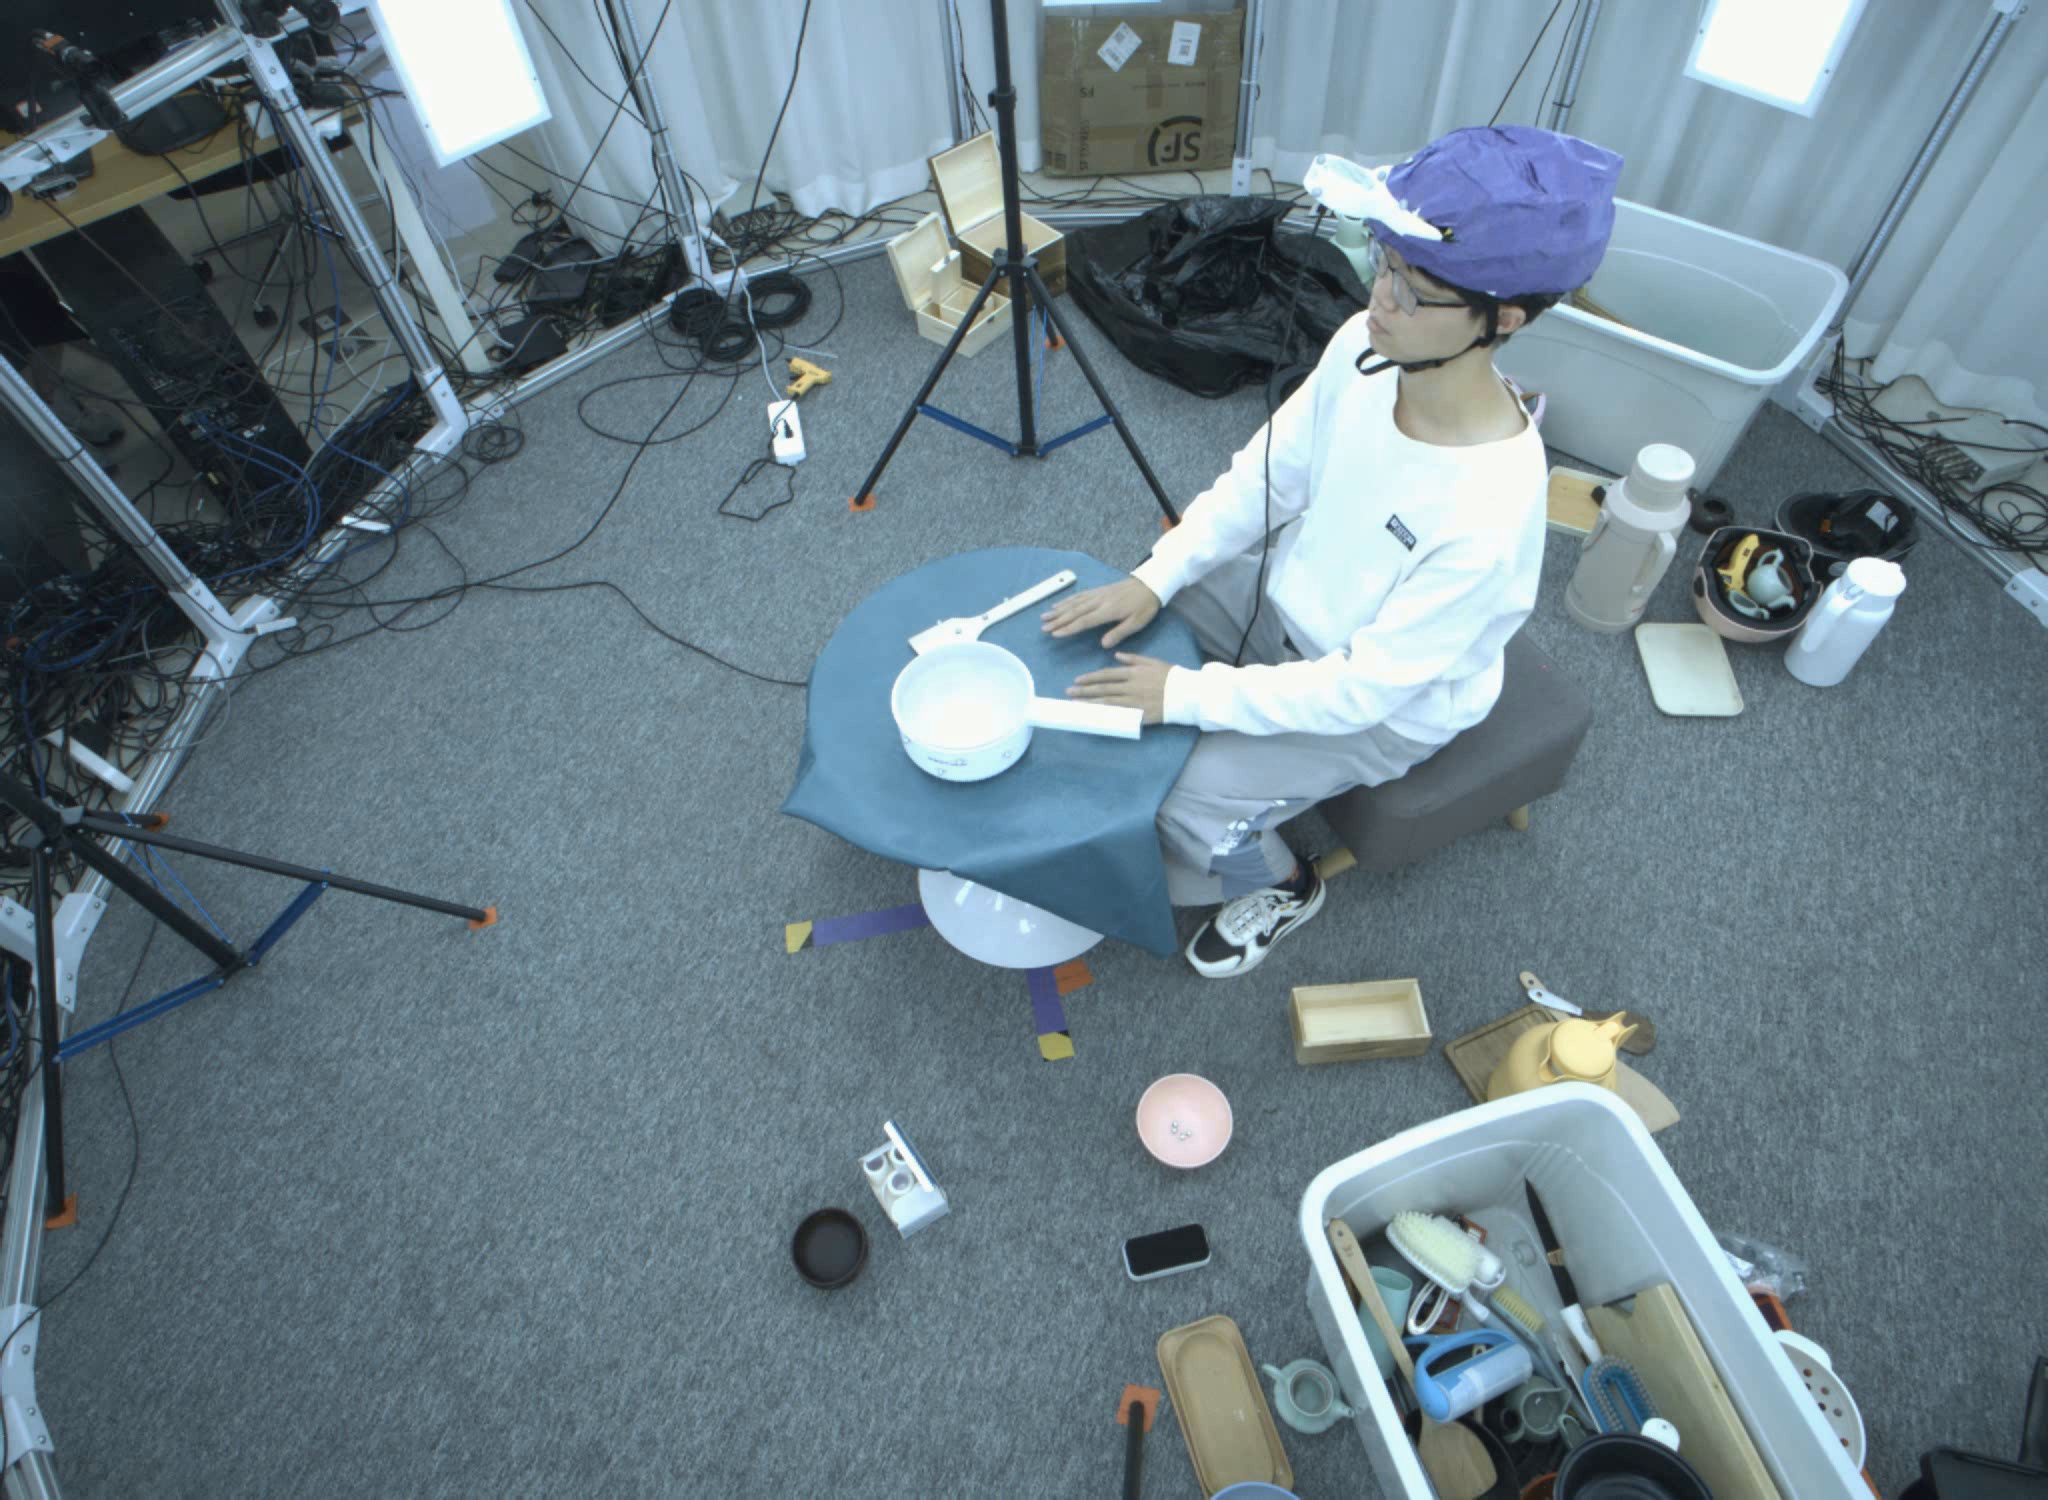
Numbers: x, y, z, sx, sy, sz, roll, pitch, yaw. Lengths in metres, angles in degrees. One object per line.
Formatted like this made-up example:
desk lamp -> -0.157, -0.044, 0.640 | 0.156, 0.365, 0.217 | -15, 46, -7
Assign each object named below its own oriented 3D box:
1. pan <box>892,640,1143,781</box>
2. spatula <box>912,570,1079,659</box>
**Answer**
pan -> -0.008, -0.041, 1.752 | 0.353, 0.103, 0.200 | 8, 55, 7
spatula -> -0.038, -0.217, 1.936 | 0.295, 0.011, 0.071 | -29, 58, -18
